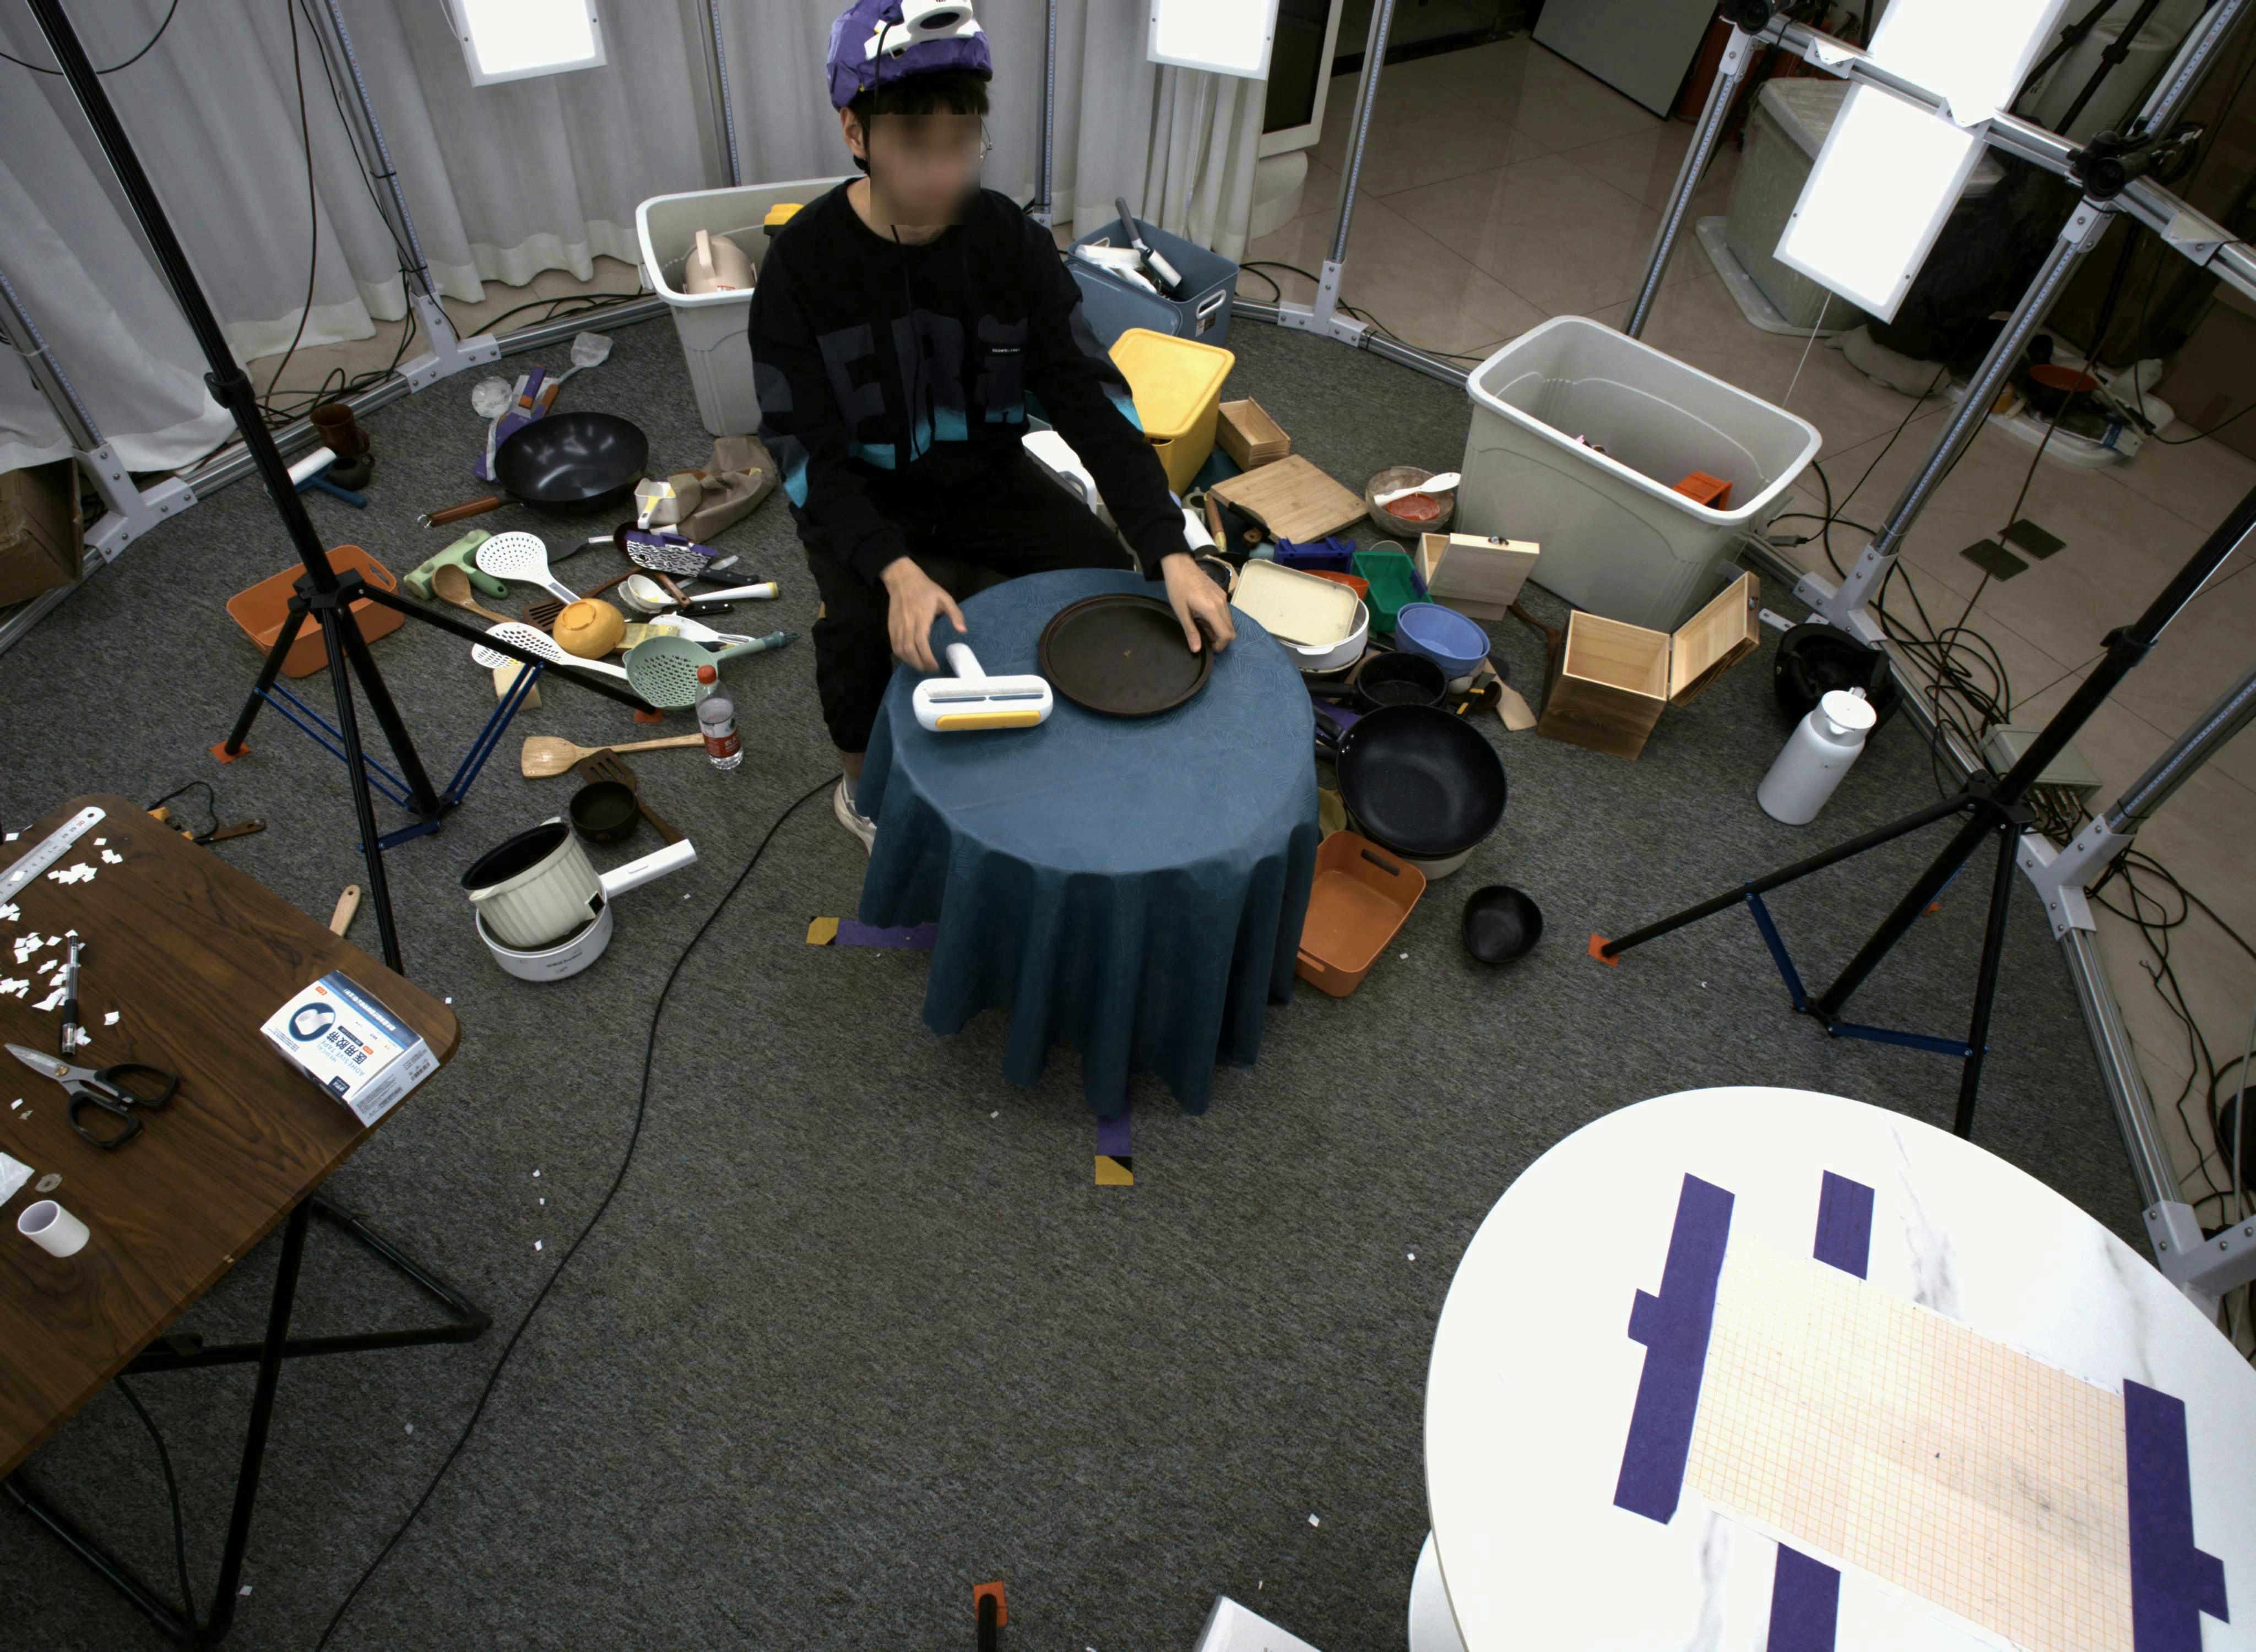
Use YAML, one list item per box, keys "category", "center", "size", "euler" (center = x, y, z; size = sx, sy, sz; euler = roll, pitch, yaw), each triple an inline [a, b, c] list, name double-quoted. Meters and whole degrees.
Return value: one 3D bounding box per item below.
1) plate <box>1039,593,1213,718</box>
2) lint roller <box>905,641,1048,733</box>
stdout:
- category: "plate"
  center: [-0.003, -0.249, 1.869]
  size: [0.254, 0.028, 0.261]
  euler: [1, 48, -2]
- category: "lint roller"
  center: [-0.218, -0.205, 1.788]
  size: [0.192, 0.072, 0.197]
  euler: [-5, 48, -15]
